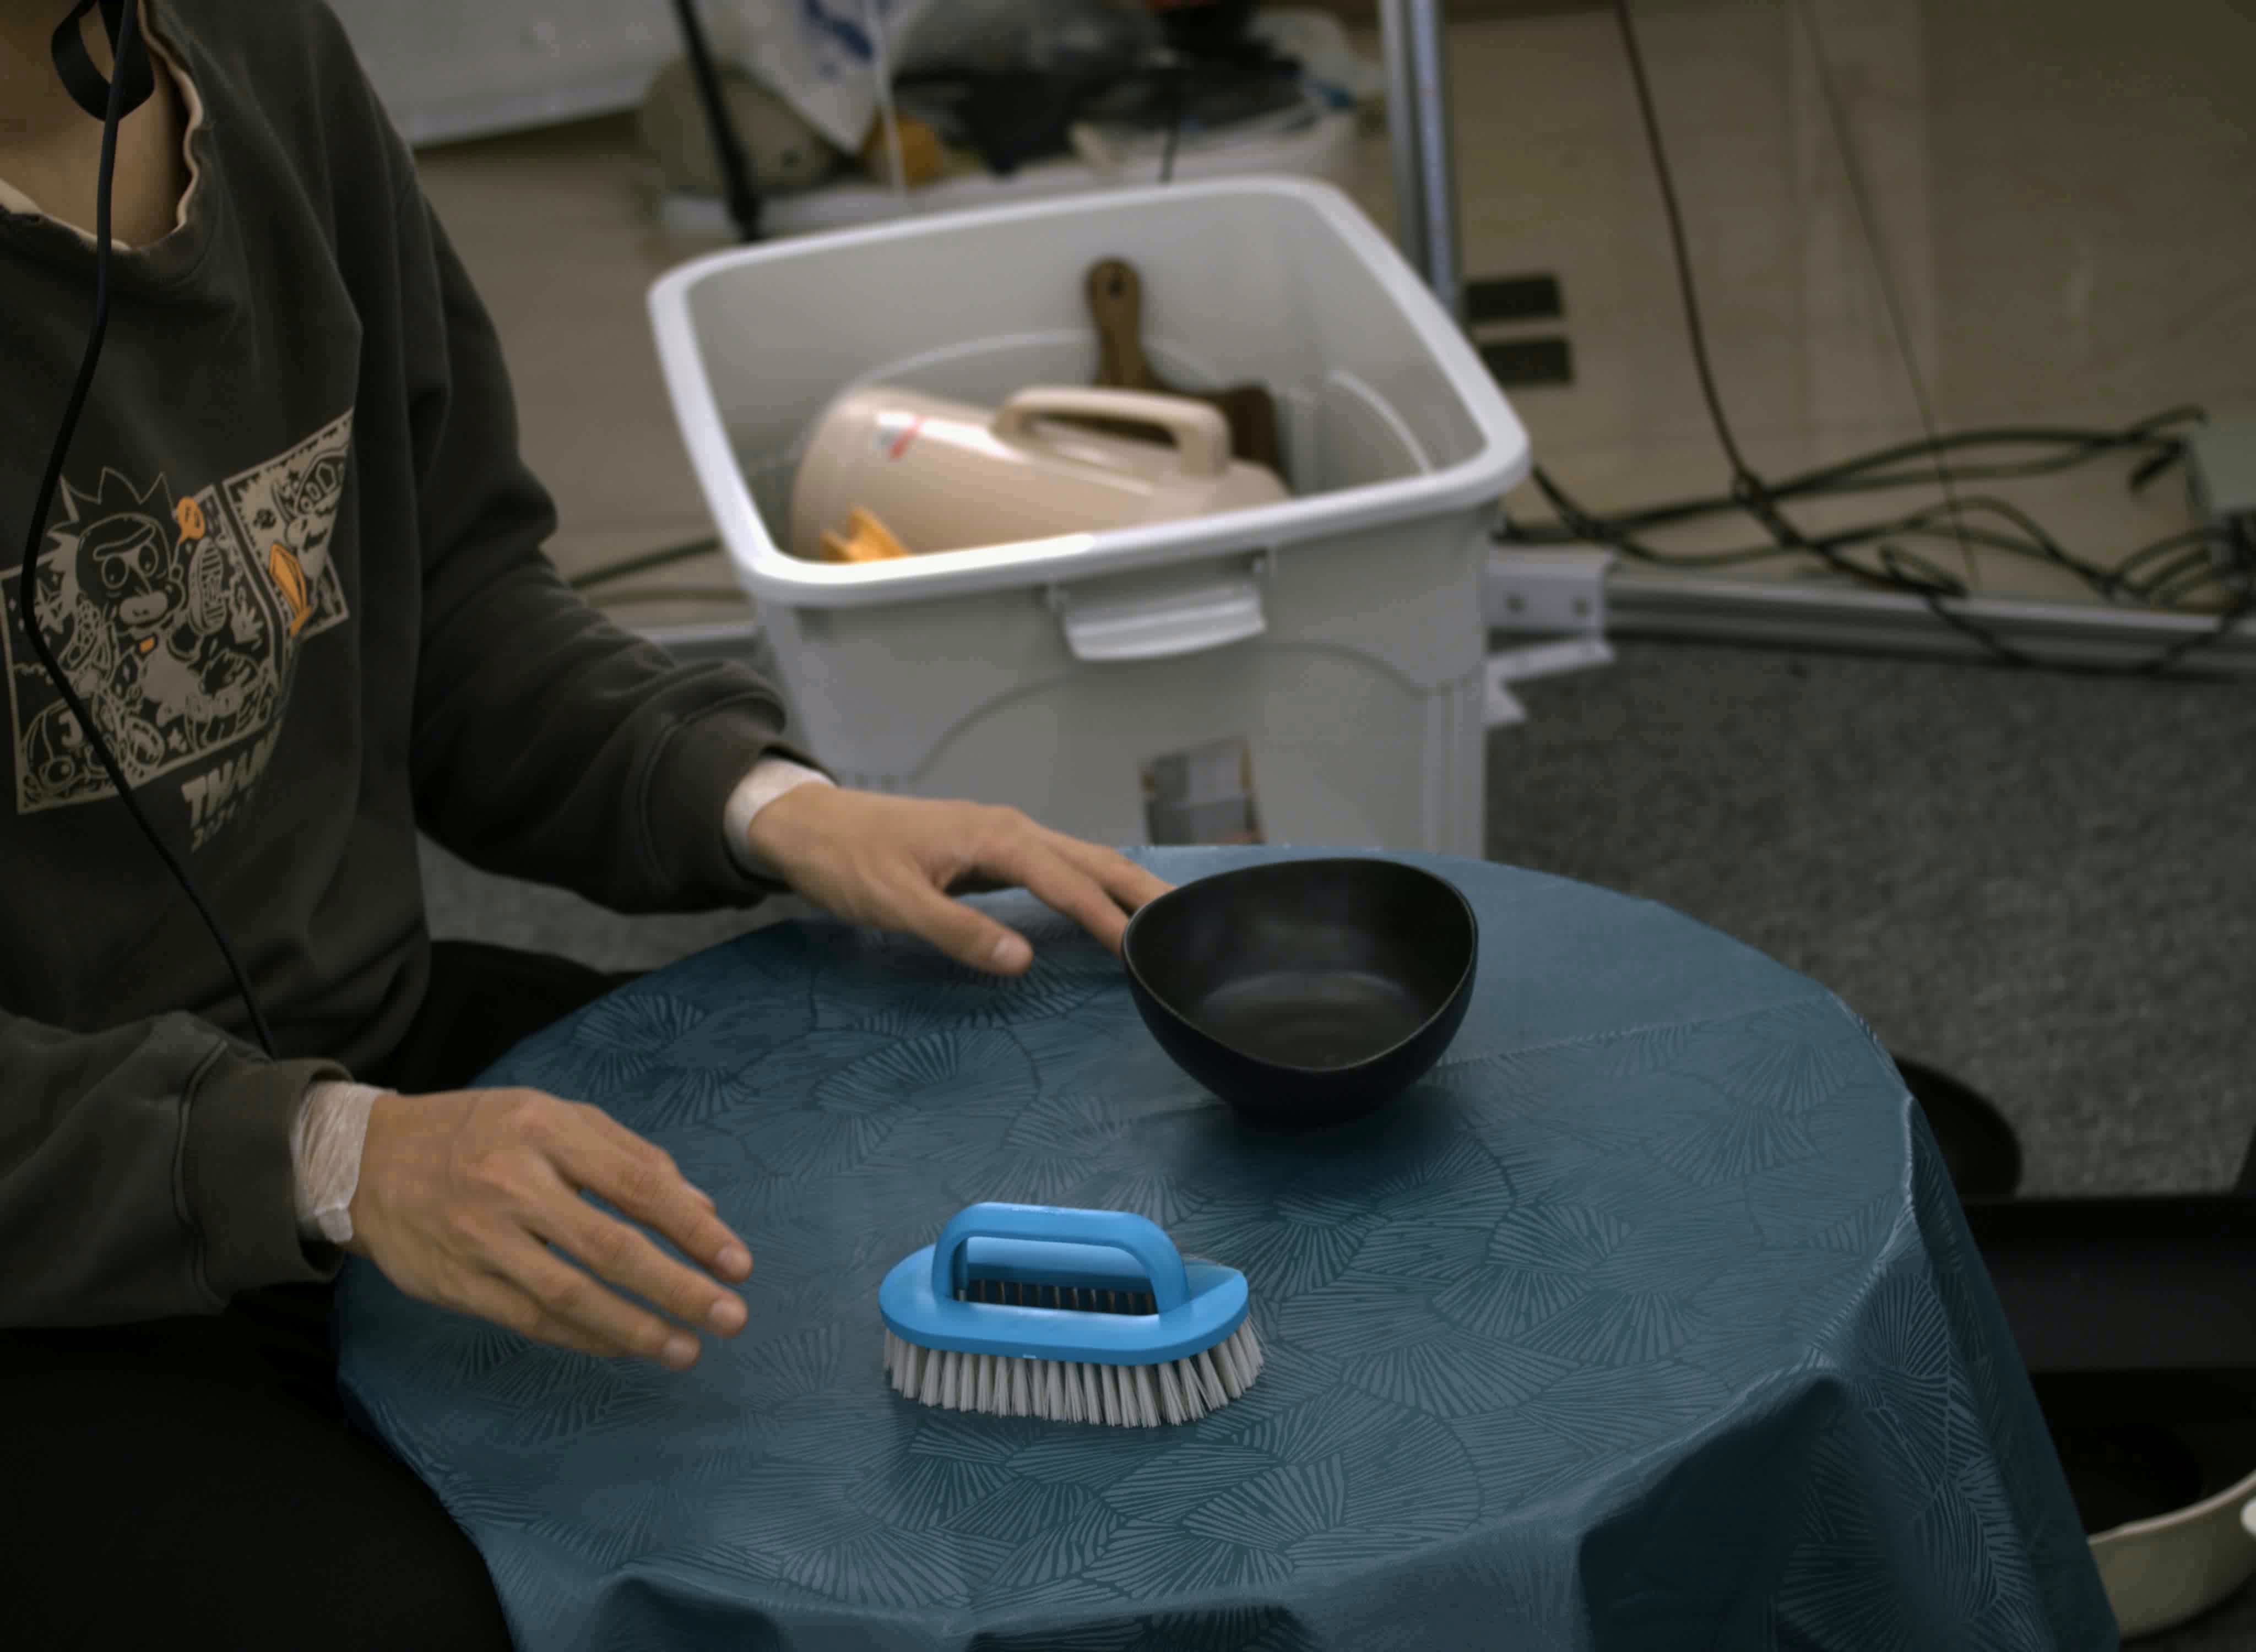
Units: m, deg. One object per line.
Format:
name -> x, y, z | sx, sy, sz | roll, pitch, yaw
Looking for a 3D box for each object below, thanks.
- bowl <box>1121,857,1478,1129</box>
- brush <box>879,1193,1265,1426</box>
bowl -> 0.070, 0.072, 2.197 | 0.137, 0.068, 0.168 | -11, 27, -8
brush -> -0.024, 0.163, 2.023 | 0.141, 0.065, 0.083 | 3, 32, 22
